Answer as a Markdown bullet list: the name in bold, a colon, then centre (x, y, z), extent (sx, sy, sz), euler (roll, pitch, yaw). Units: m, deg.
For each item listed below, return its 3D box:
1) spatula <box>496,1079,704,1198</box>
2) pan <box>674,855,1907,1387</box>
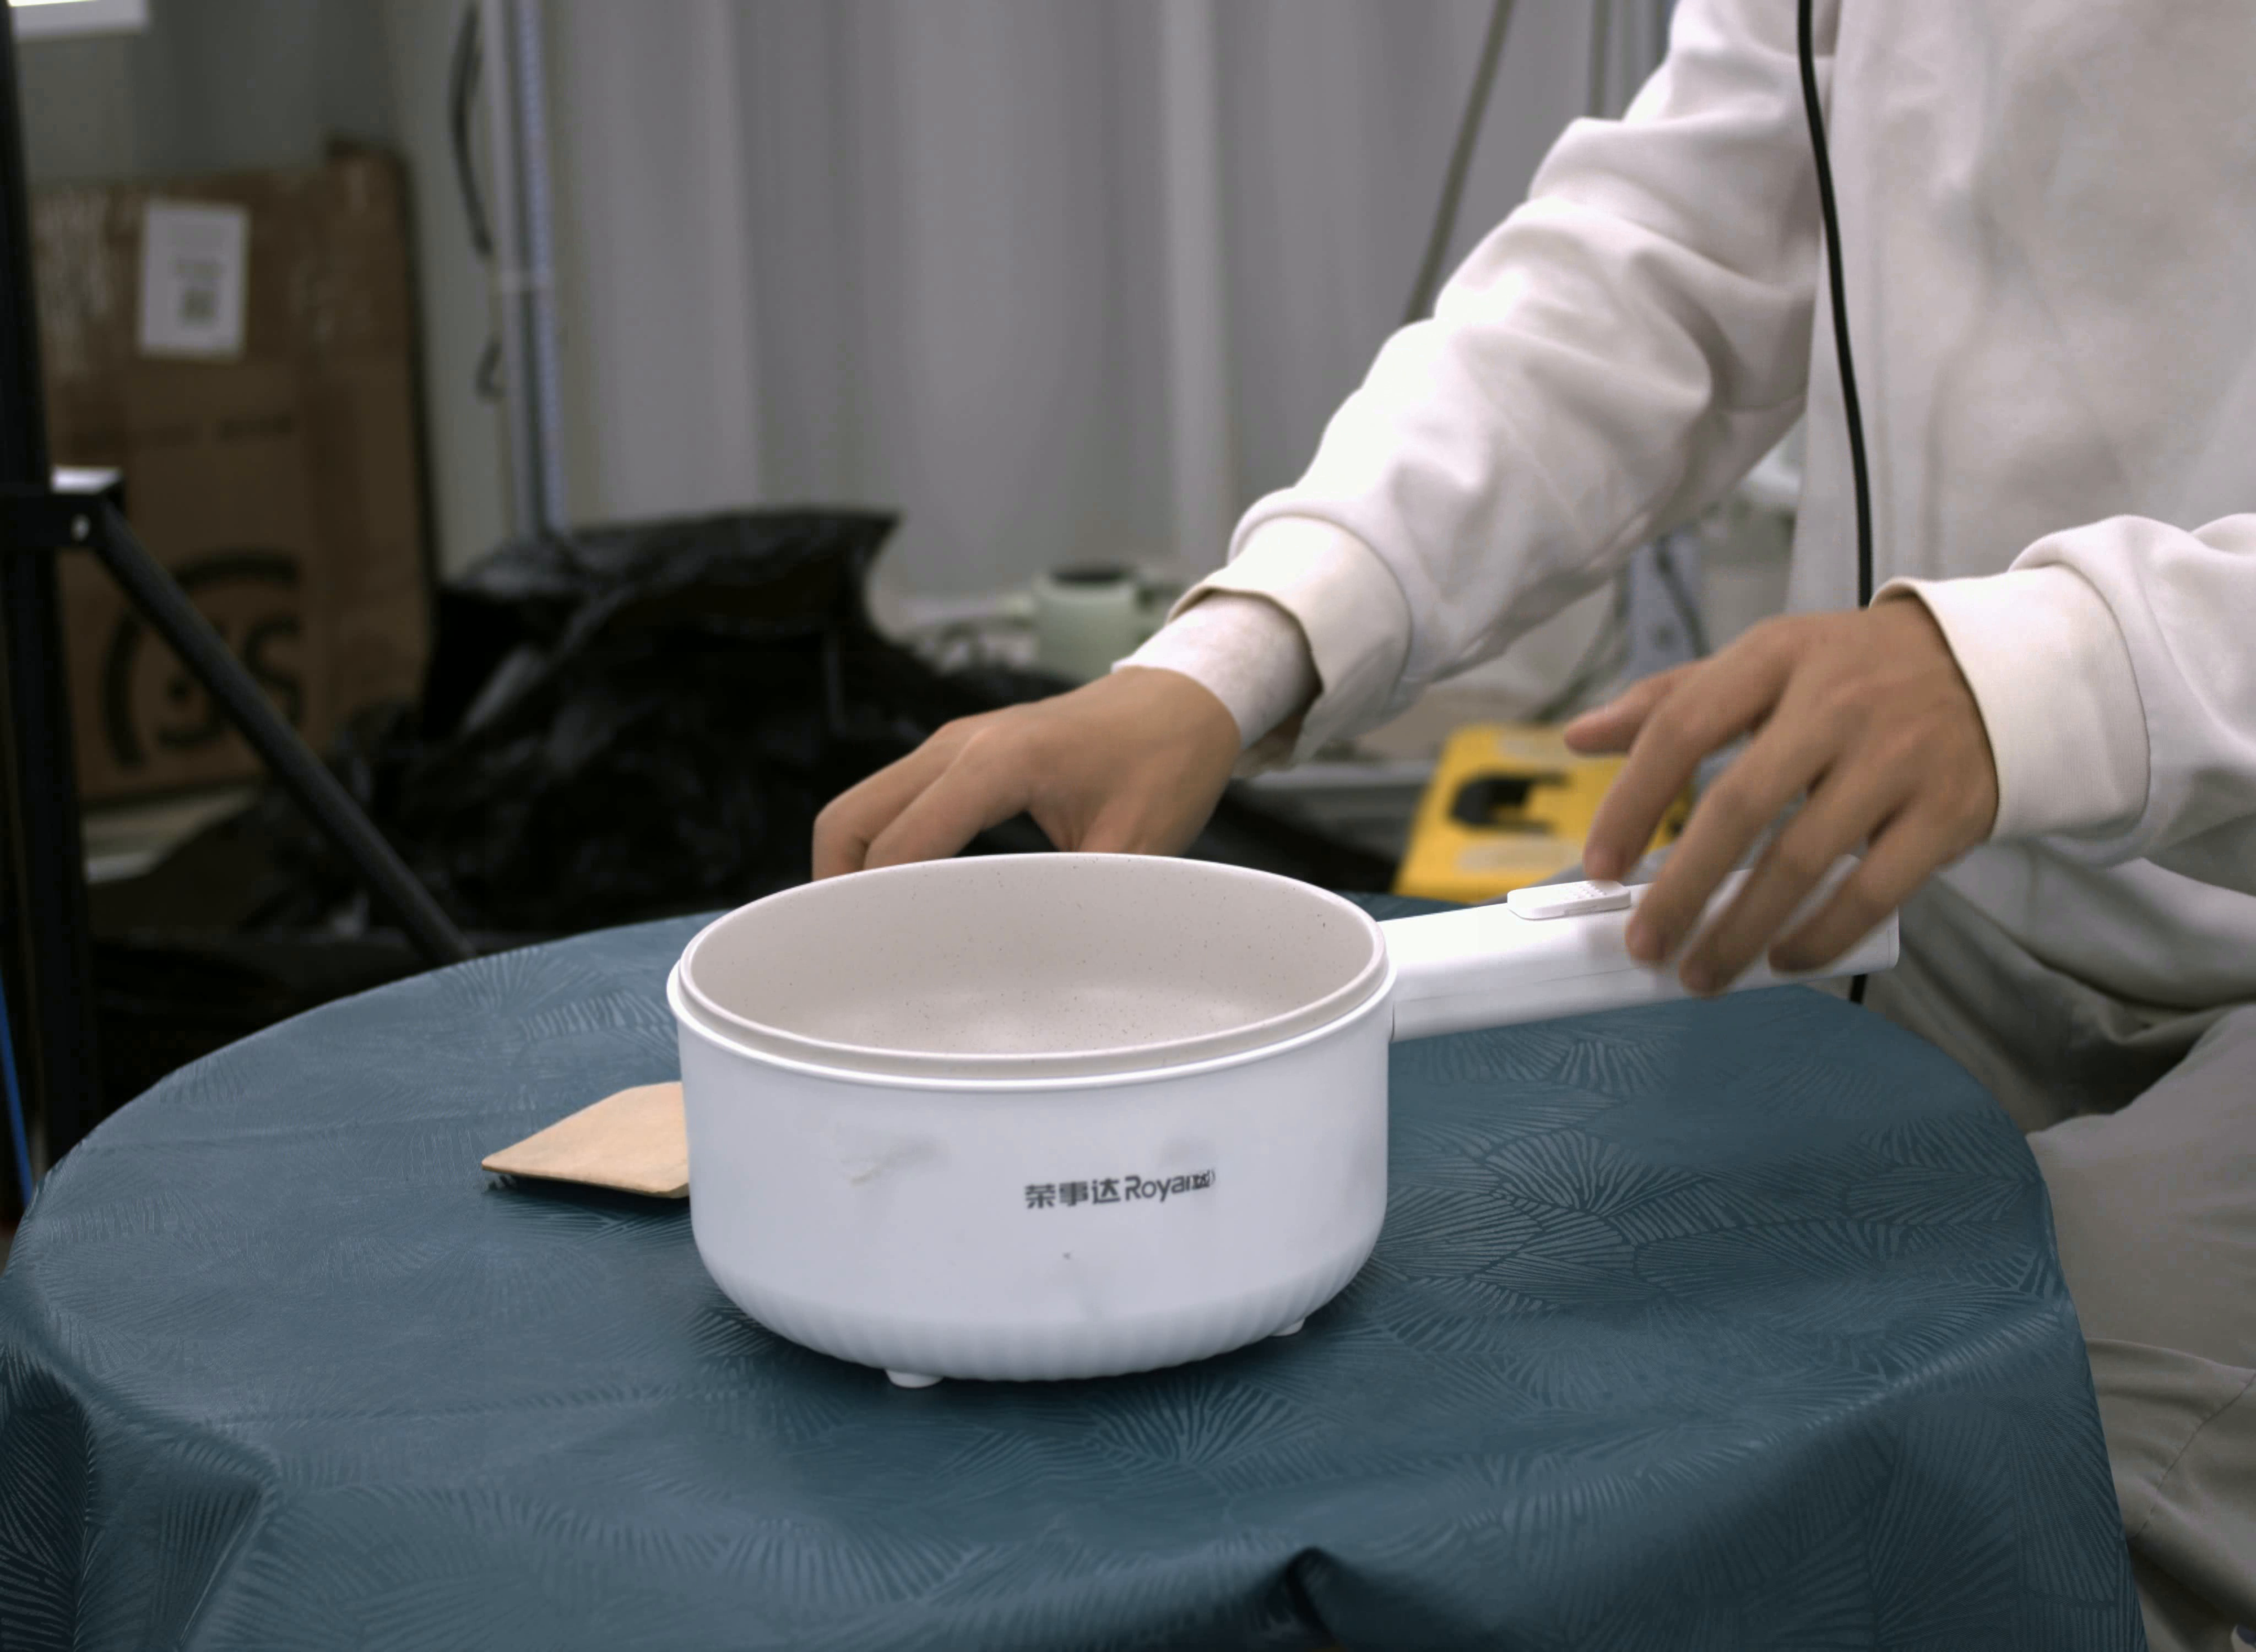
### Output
- **spatula**: centre (-0.094, 0.070, 1.693), extent (0.073, 0.010, 0.288), euler (4, 17, 28)
- **pan**: centre (0.049, 0.075, 1.489), extent (0.349, 0.102, 0.204), euler (-6, 15, -15)
